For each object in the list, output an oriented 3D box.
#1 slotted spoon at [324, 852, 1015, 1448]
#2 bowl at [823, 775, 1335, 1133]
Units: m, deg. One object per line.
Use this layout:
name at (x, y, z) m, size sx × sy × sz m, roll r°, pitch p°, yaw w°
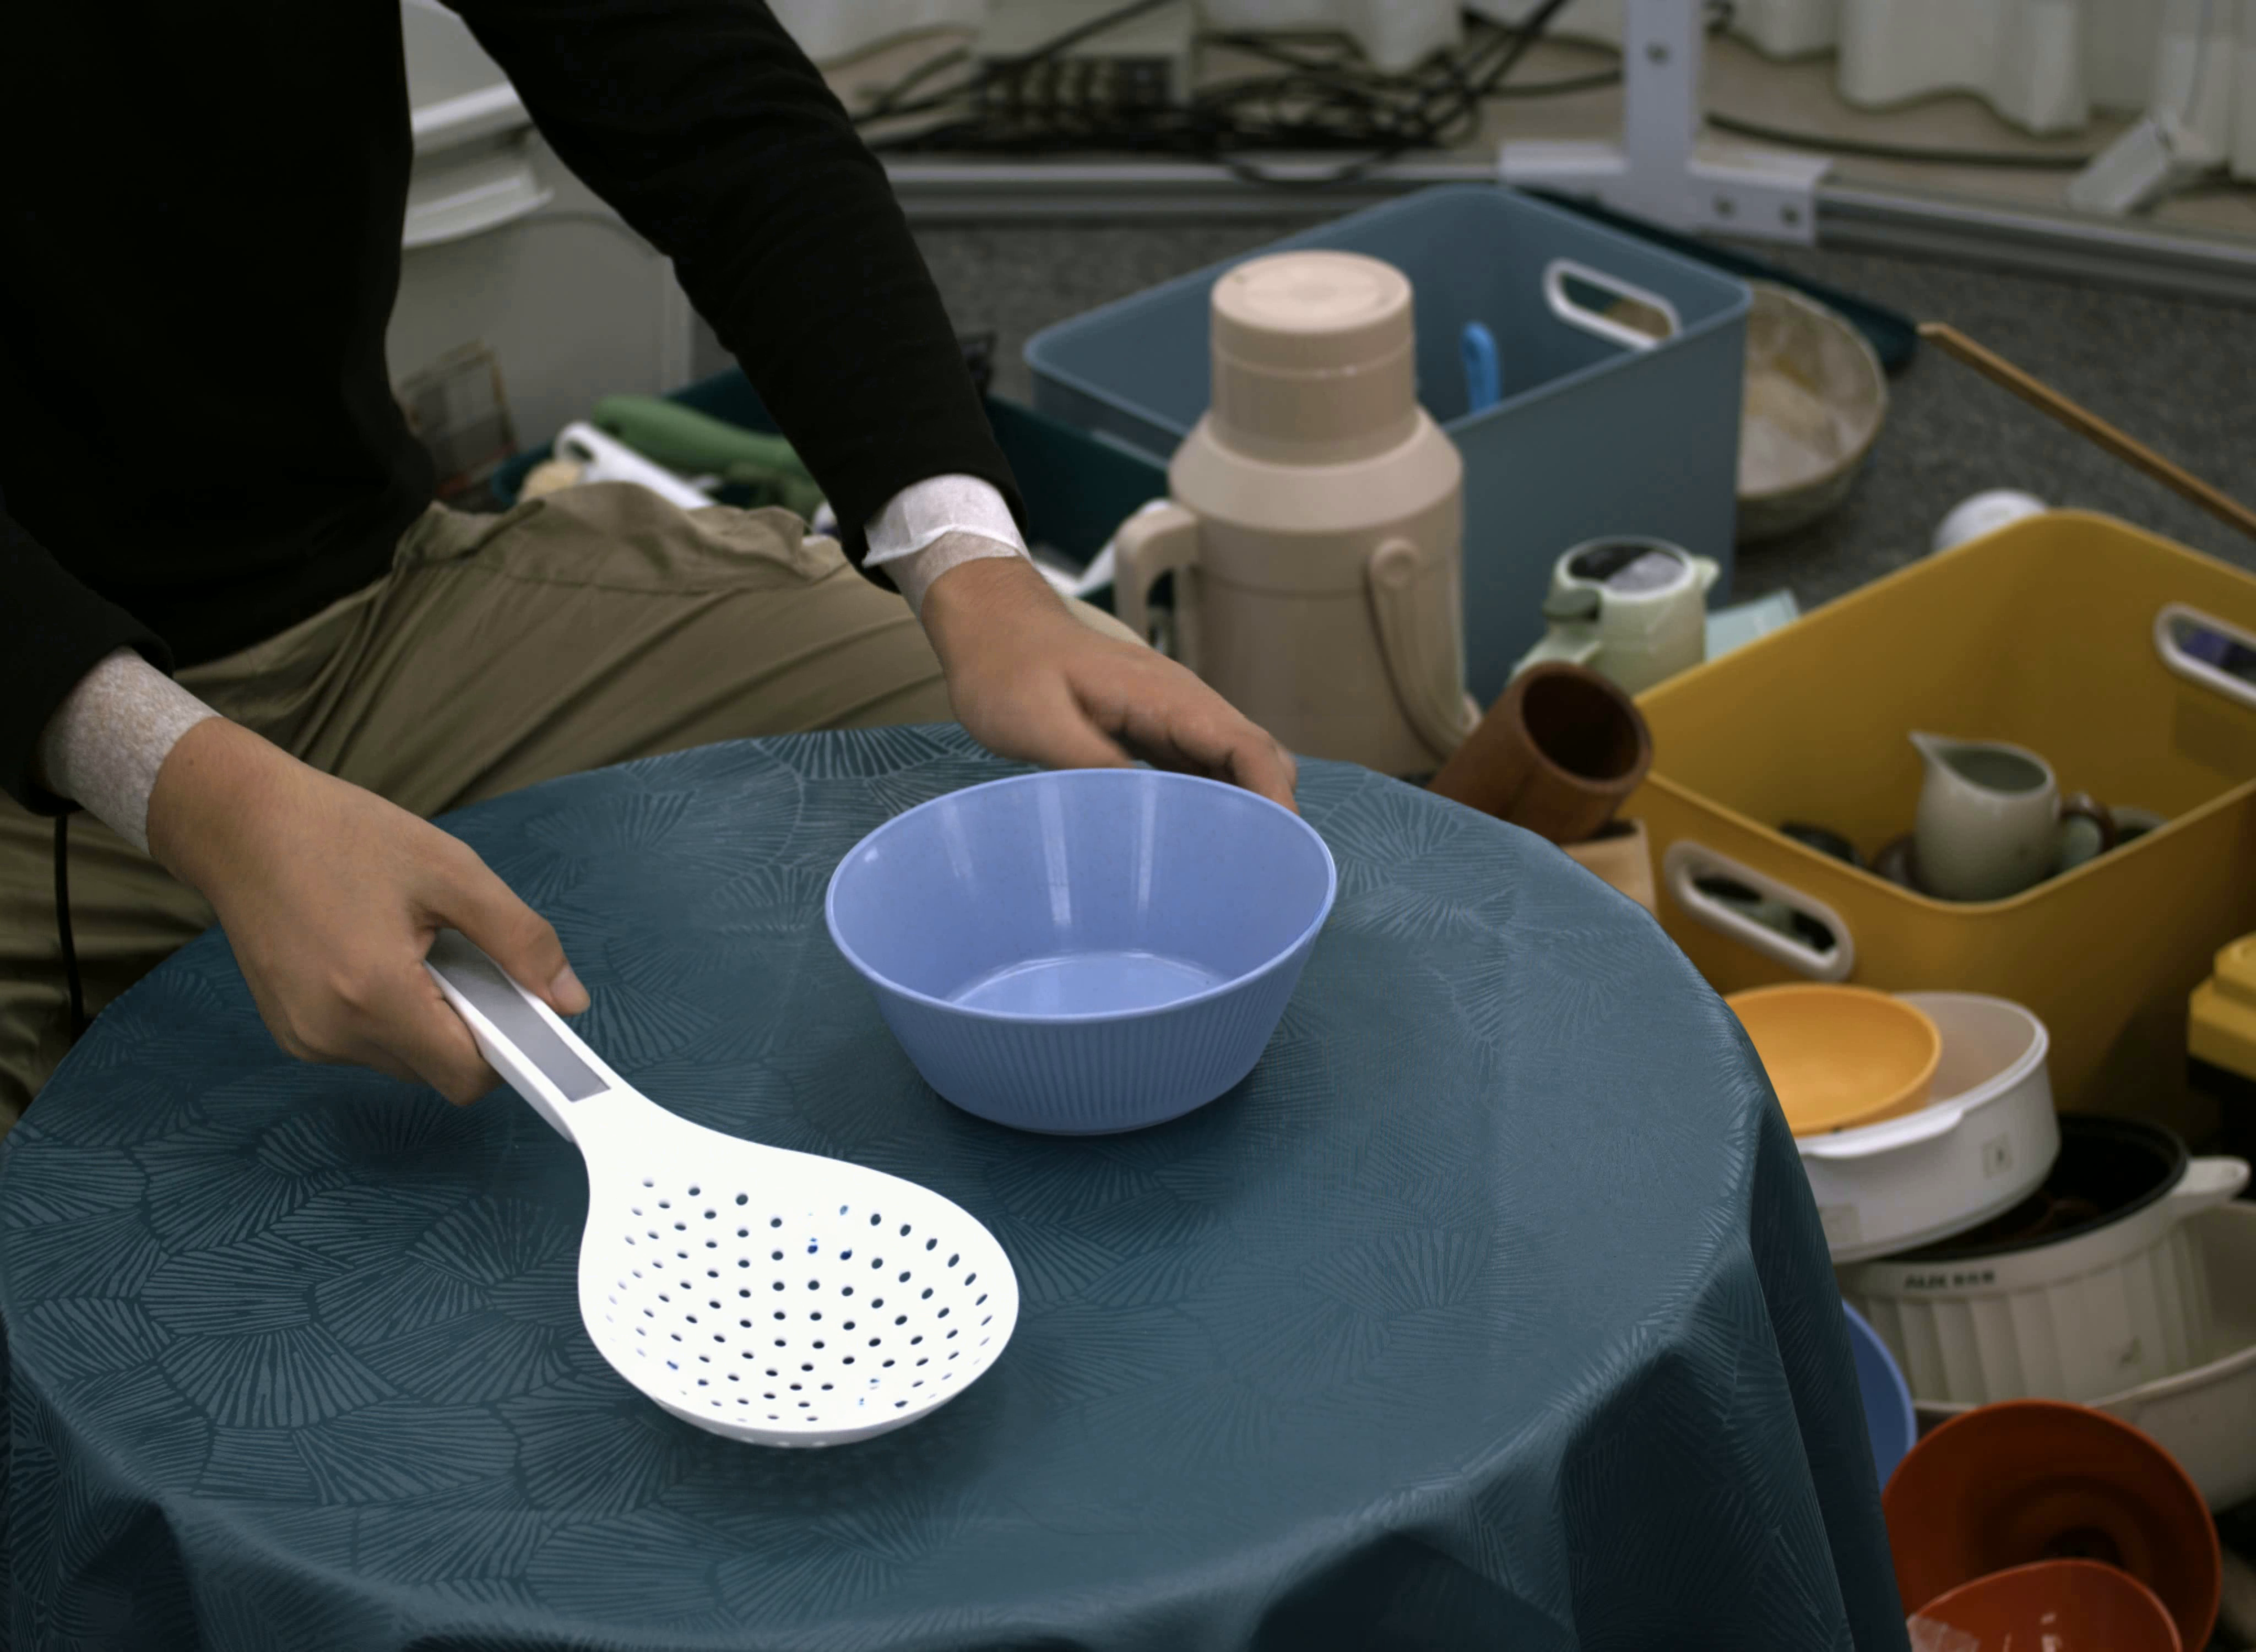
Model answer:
slotted spoon at (-0.166, 0.099, 1.816) m, size 0.137 × 0.045 × 0.352 m, roll -19°, pitch 44°, yaw -31°
bowl at (-0.015, 0.049, 1.928) m, size 0.175 × 0.069 × 0.178 m, roll -3°, pitch 26°, yaw 2°
